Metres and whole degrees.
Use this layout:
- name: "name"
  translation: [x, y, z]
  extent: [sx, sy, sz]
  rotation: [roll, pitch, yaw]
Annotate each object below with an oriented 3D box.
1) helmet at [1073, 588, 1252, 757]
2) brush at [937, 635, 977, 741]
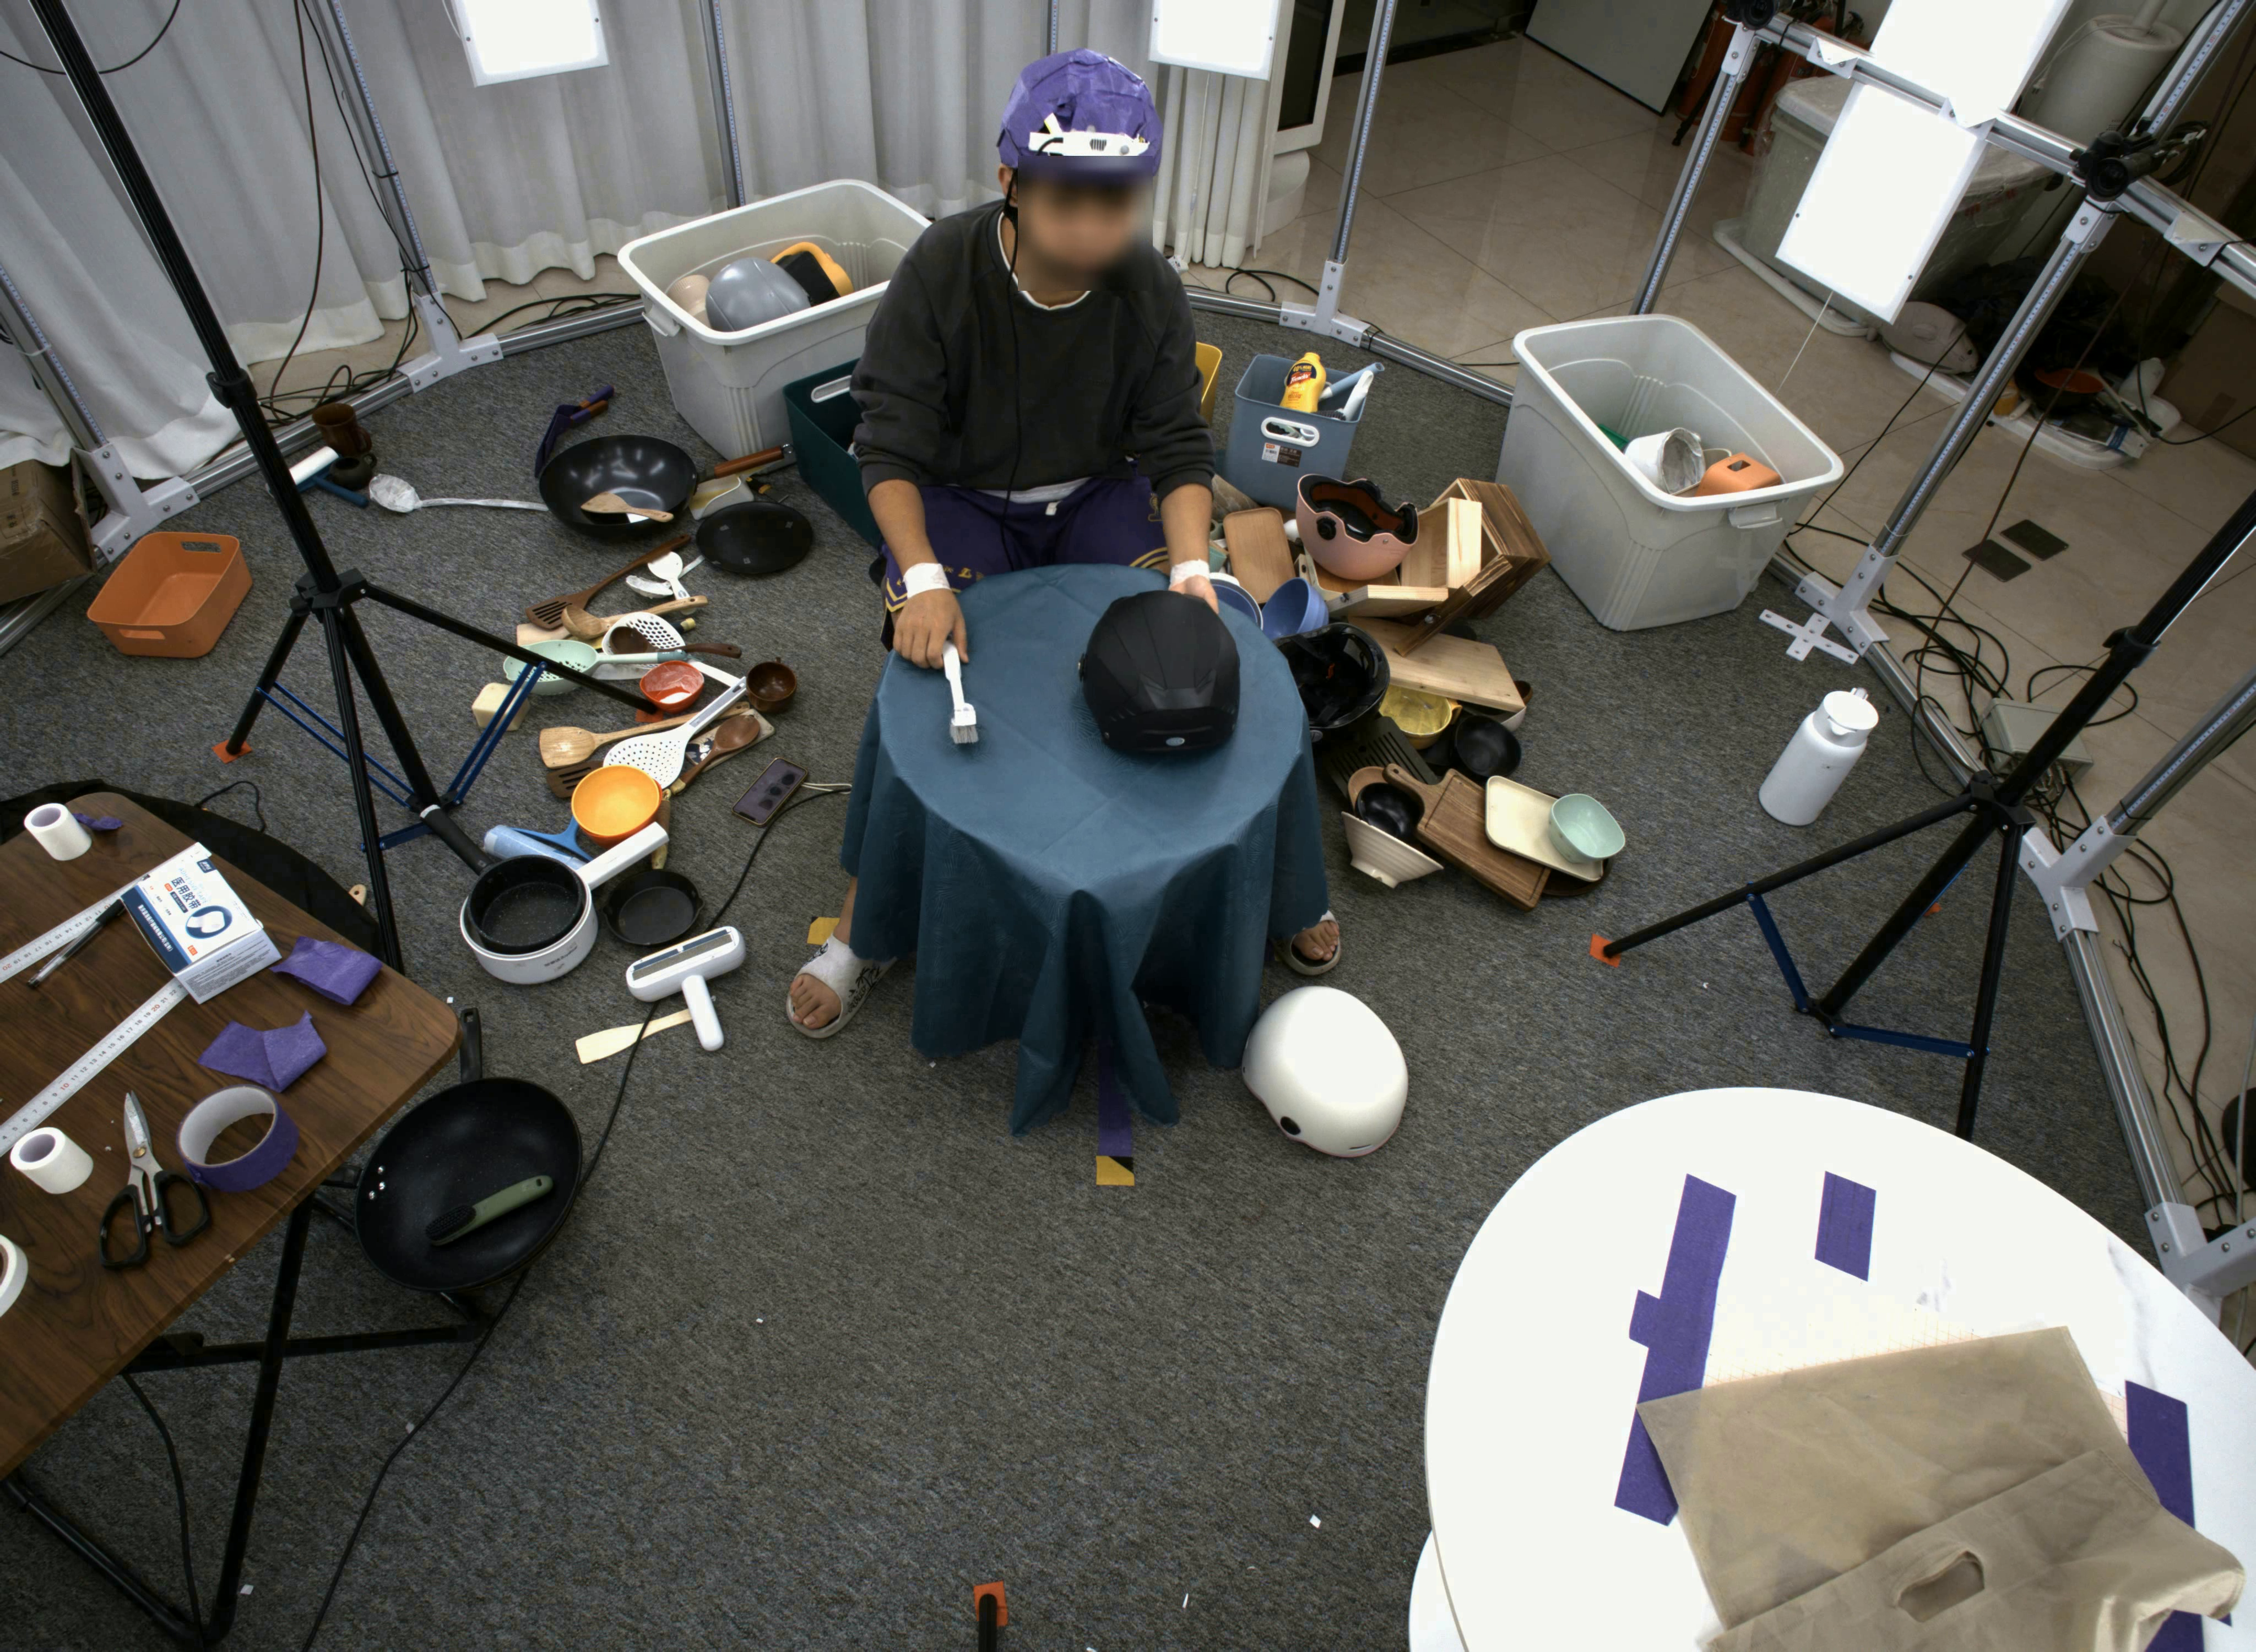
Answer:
- name: "helmet"
  translation: [0.053, -0.231, 1.768]
  extent: [0.246, 0.168, 0.283]
  rotation: [-2, 53, -7]
- name: "brush"
  translation: [-0.242, -0.192, 1.802]
  extent: [0.034, 0.049, 0.249]
  rotation: [-8, 37, -10]
